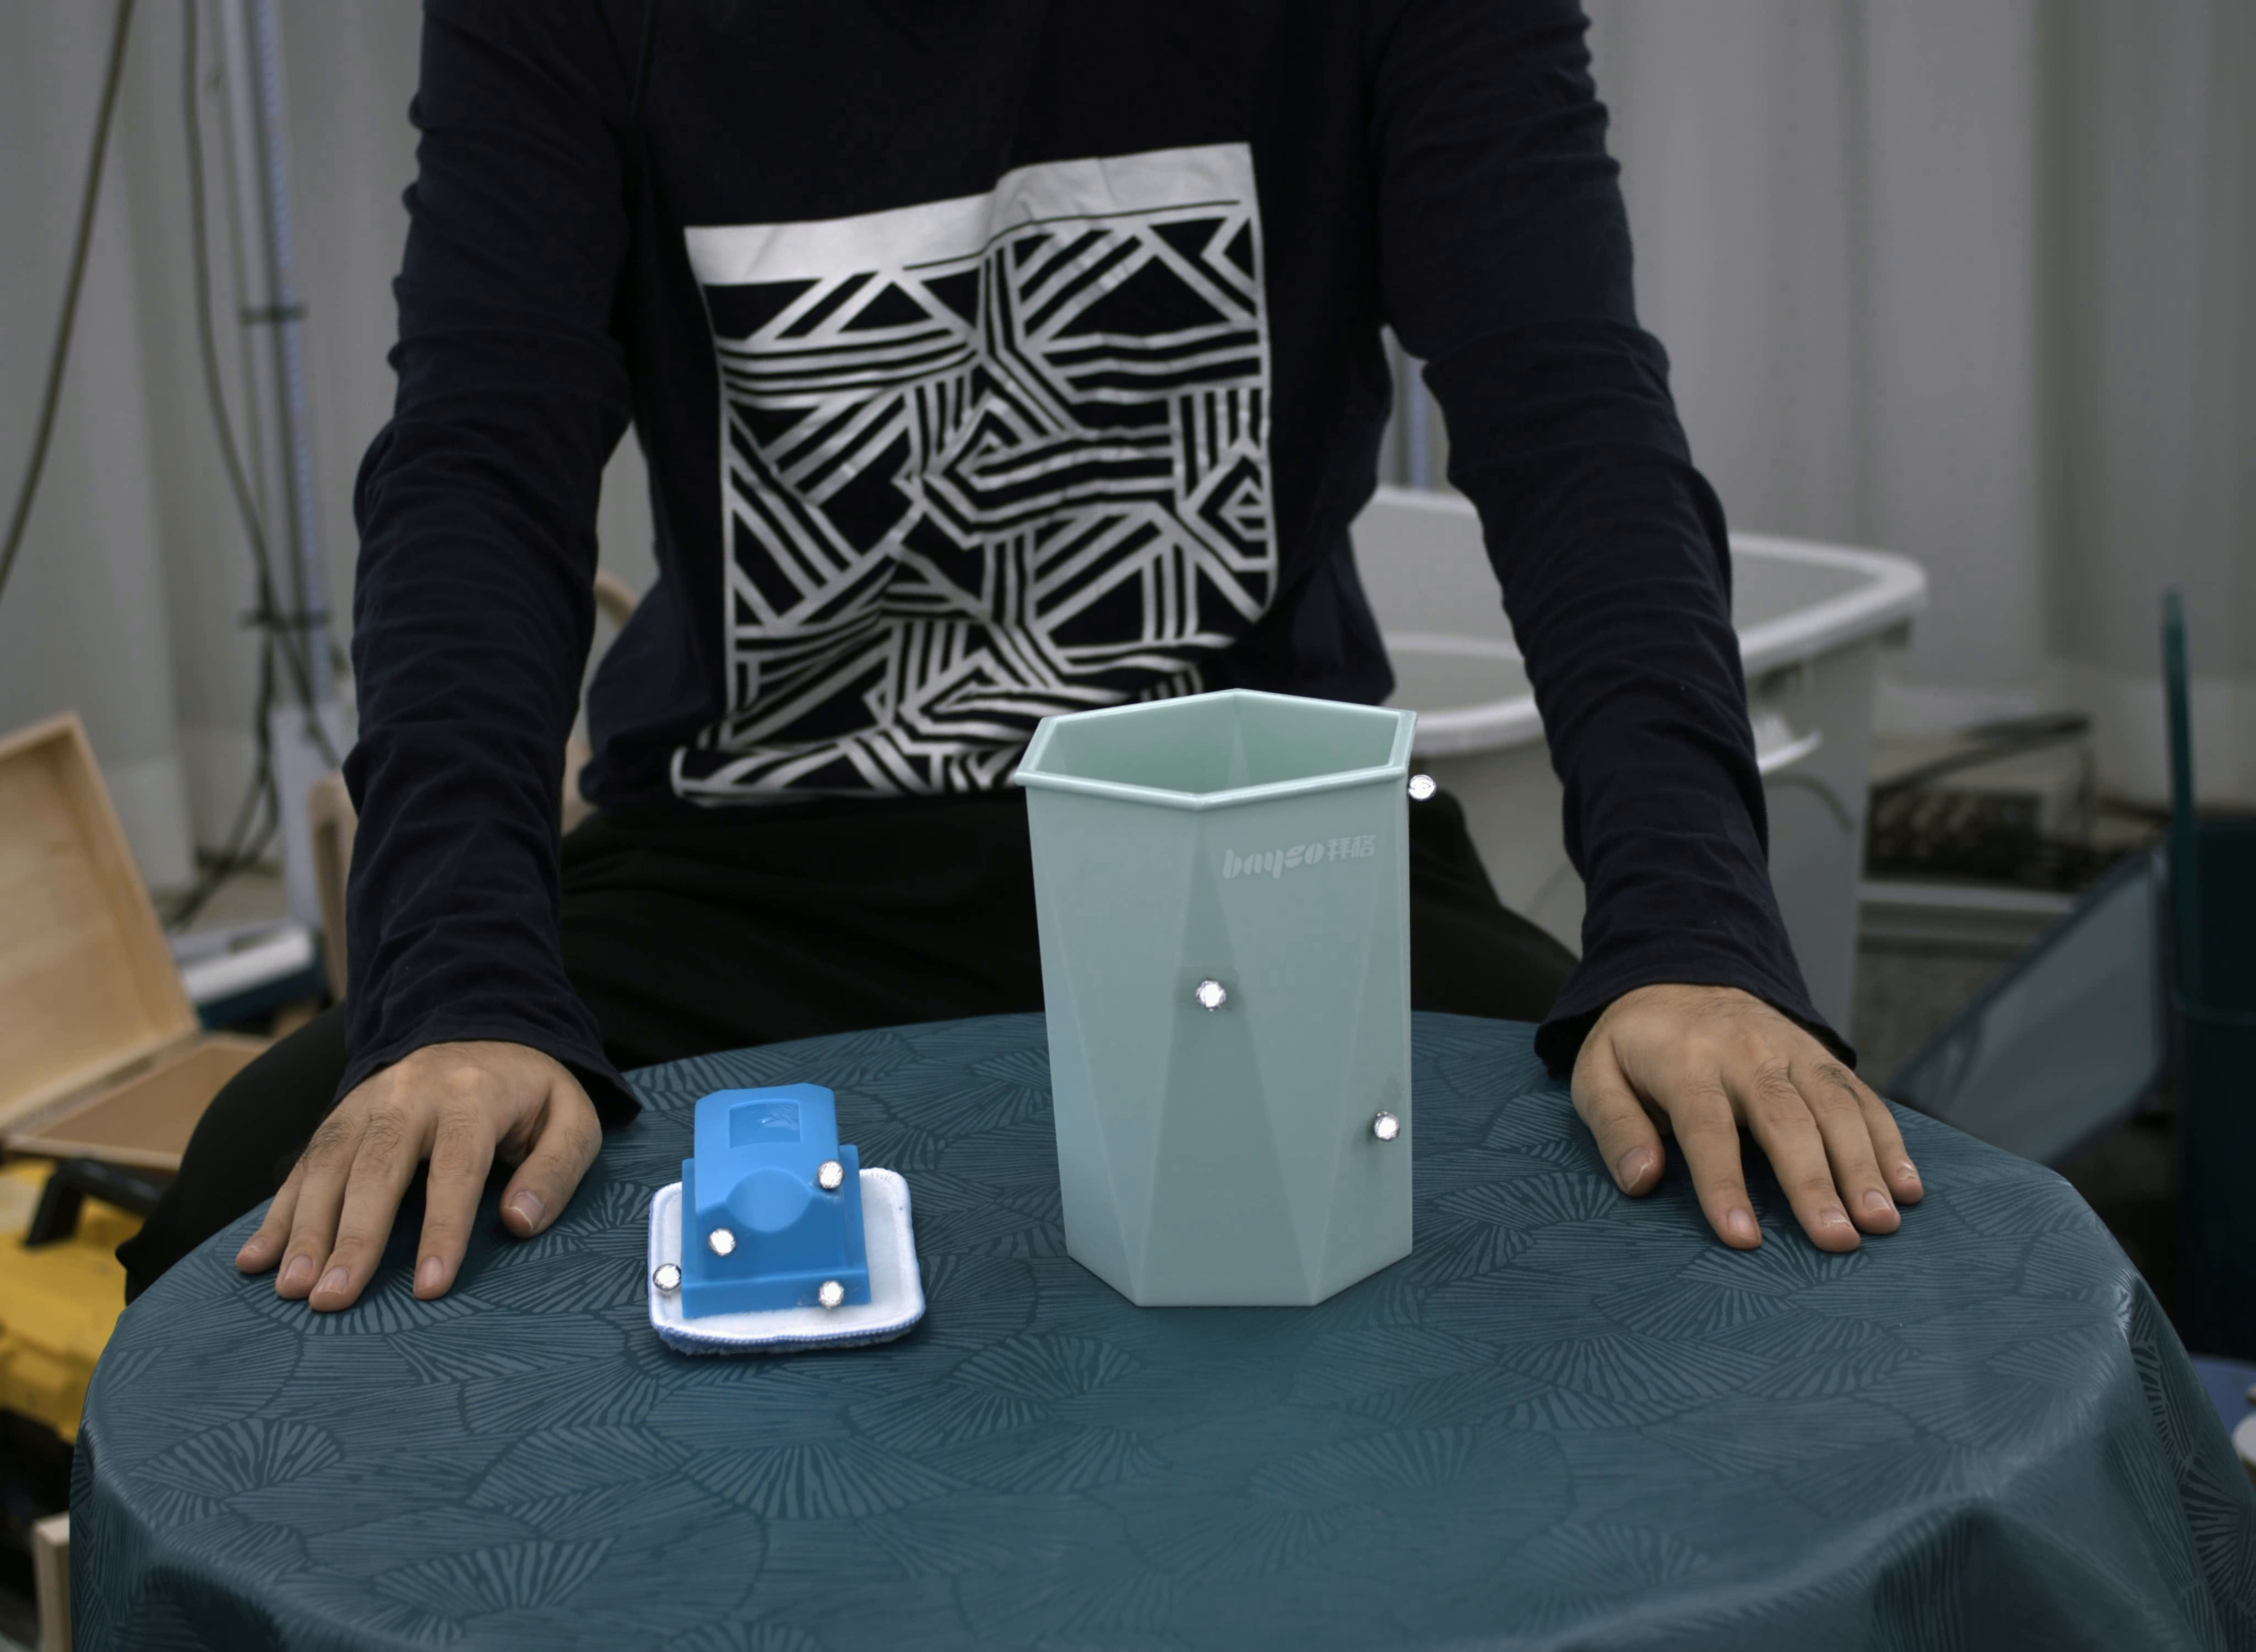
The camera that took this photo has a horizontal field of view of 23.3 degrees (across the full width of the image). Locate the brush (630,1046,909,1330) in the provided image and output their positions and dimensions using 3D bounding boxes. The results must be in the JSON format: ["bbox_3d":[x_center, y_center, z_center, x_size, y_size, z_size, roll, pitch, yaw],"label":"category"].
[{"bbox_3d":[-0.108,0.106,1.650,0.083,0.055,0.145,-1,17,-2],"label":"brush"}]

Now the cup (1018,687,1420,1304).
[{"bbox_3d":[0.032,0.051,1.632,0.130,0.162,0.116,-9,14,-23],"label":"cup"}]
